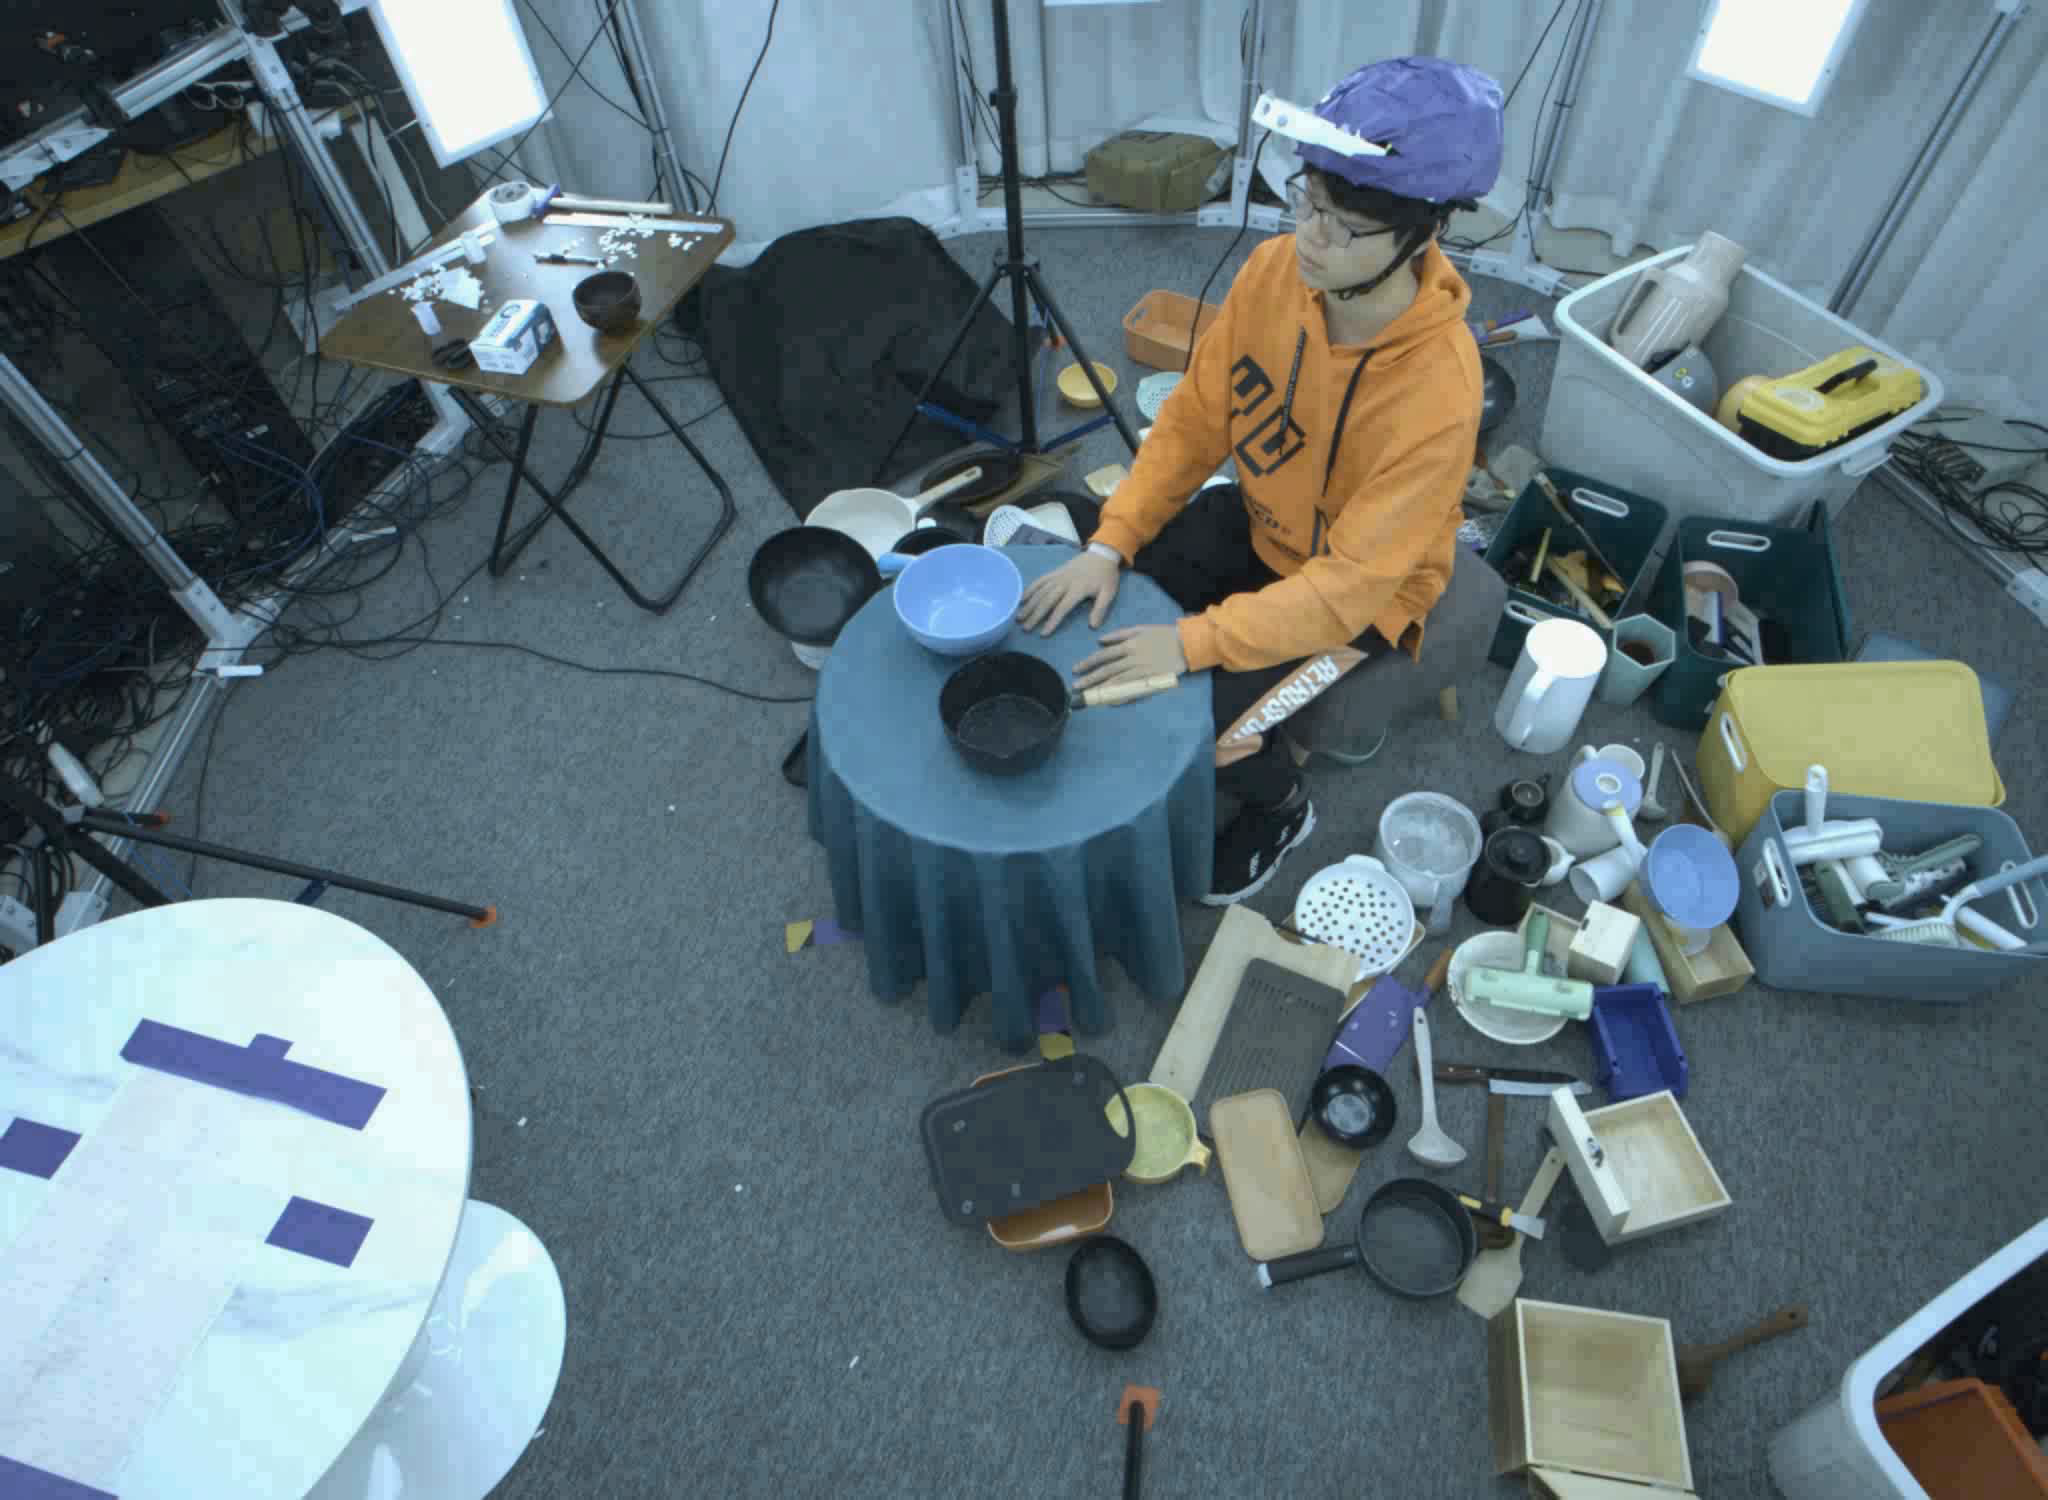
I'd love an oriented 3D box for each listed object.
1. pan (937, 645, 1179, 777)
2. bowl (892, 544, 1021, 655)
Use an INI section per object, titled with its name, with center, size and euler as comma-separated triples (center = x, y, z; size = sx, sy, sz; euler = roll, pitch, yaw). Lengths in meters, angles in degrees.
[pan]
center = 0.050, -0.061, 1.761
size = 0.343, 0.109, 0.205
euler = -6, 53, 0
[bowl]
center = -0.099, -0.216, 1.884
size = 0.196, 0.096, 0.194
euler = -1, 54, 3
